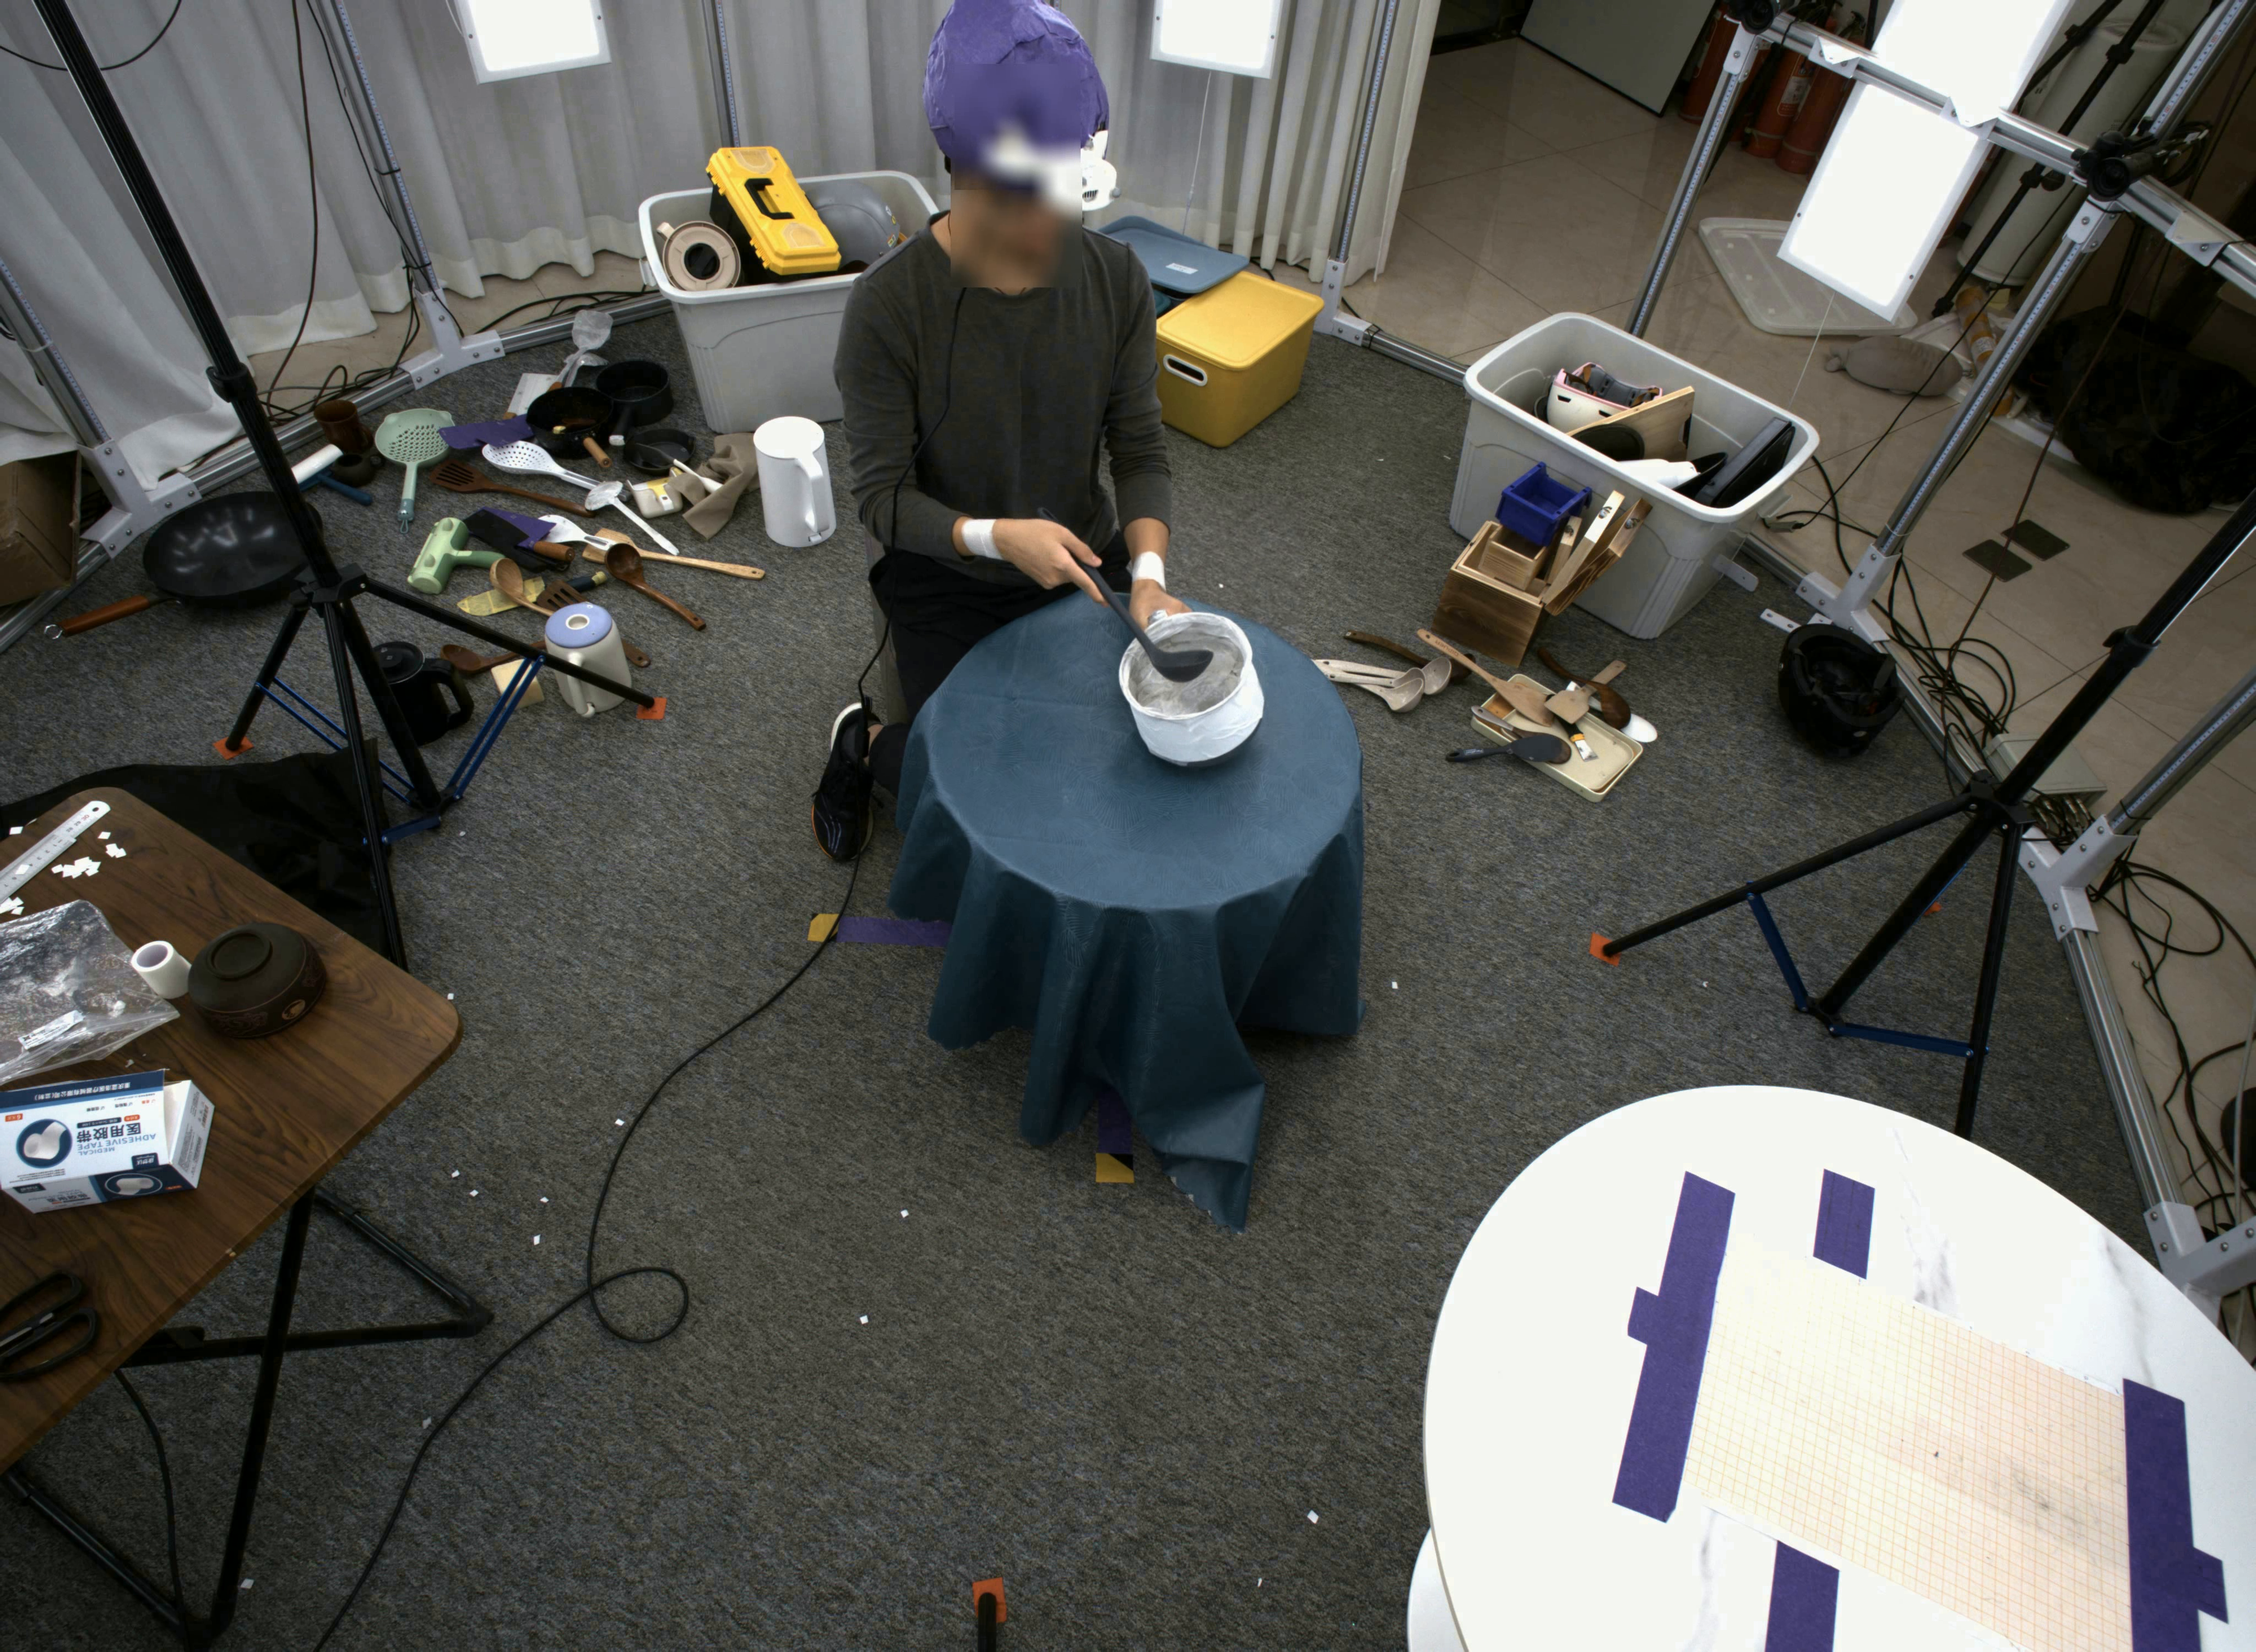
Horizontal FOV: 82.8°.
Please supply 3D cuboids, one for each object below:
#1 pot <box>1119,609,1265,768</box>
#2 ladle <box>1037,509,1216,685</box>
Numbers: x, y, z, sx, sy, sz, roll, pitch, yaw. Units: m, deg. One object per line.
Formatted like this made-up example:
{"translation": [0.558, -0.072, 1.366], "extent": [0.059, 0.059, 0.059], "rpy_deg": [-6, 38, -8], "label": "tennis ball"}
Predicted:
{"translation": [0.079, -0.198, 1.735], "extent": [0.178, 0.133, 0.239], "rpy_deg": [-24, 54, -1], "label": "pot"}
{"translation": [-0.008, -0.309, 1.678], "extent": [0.316, 0.063, 0.087], "rpy_deg": [51, 40, 7], "label": "ladle"}
